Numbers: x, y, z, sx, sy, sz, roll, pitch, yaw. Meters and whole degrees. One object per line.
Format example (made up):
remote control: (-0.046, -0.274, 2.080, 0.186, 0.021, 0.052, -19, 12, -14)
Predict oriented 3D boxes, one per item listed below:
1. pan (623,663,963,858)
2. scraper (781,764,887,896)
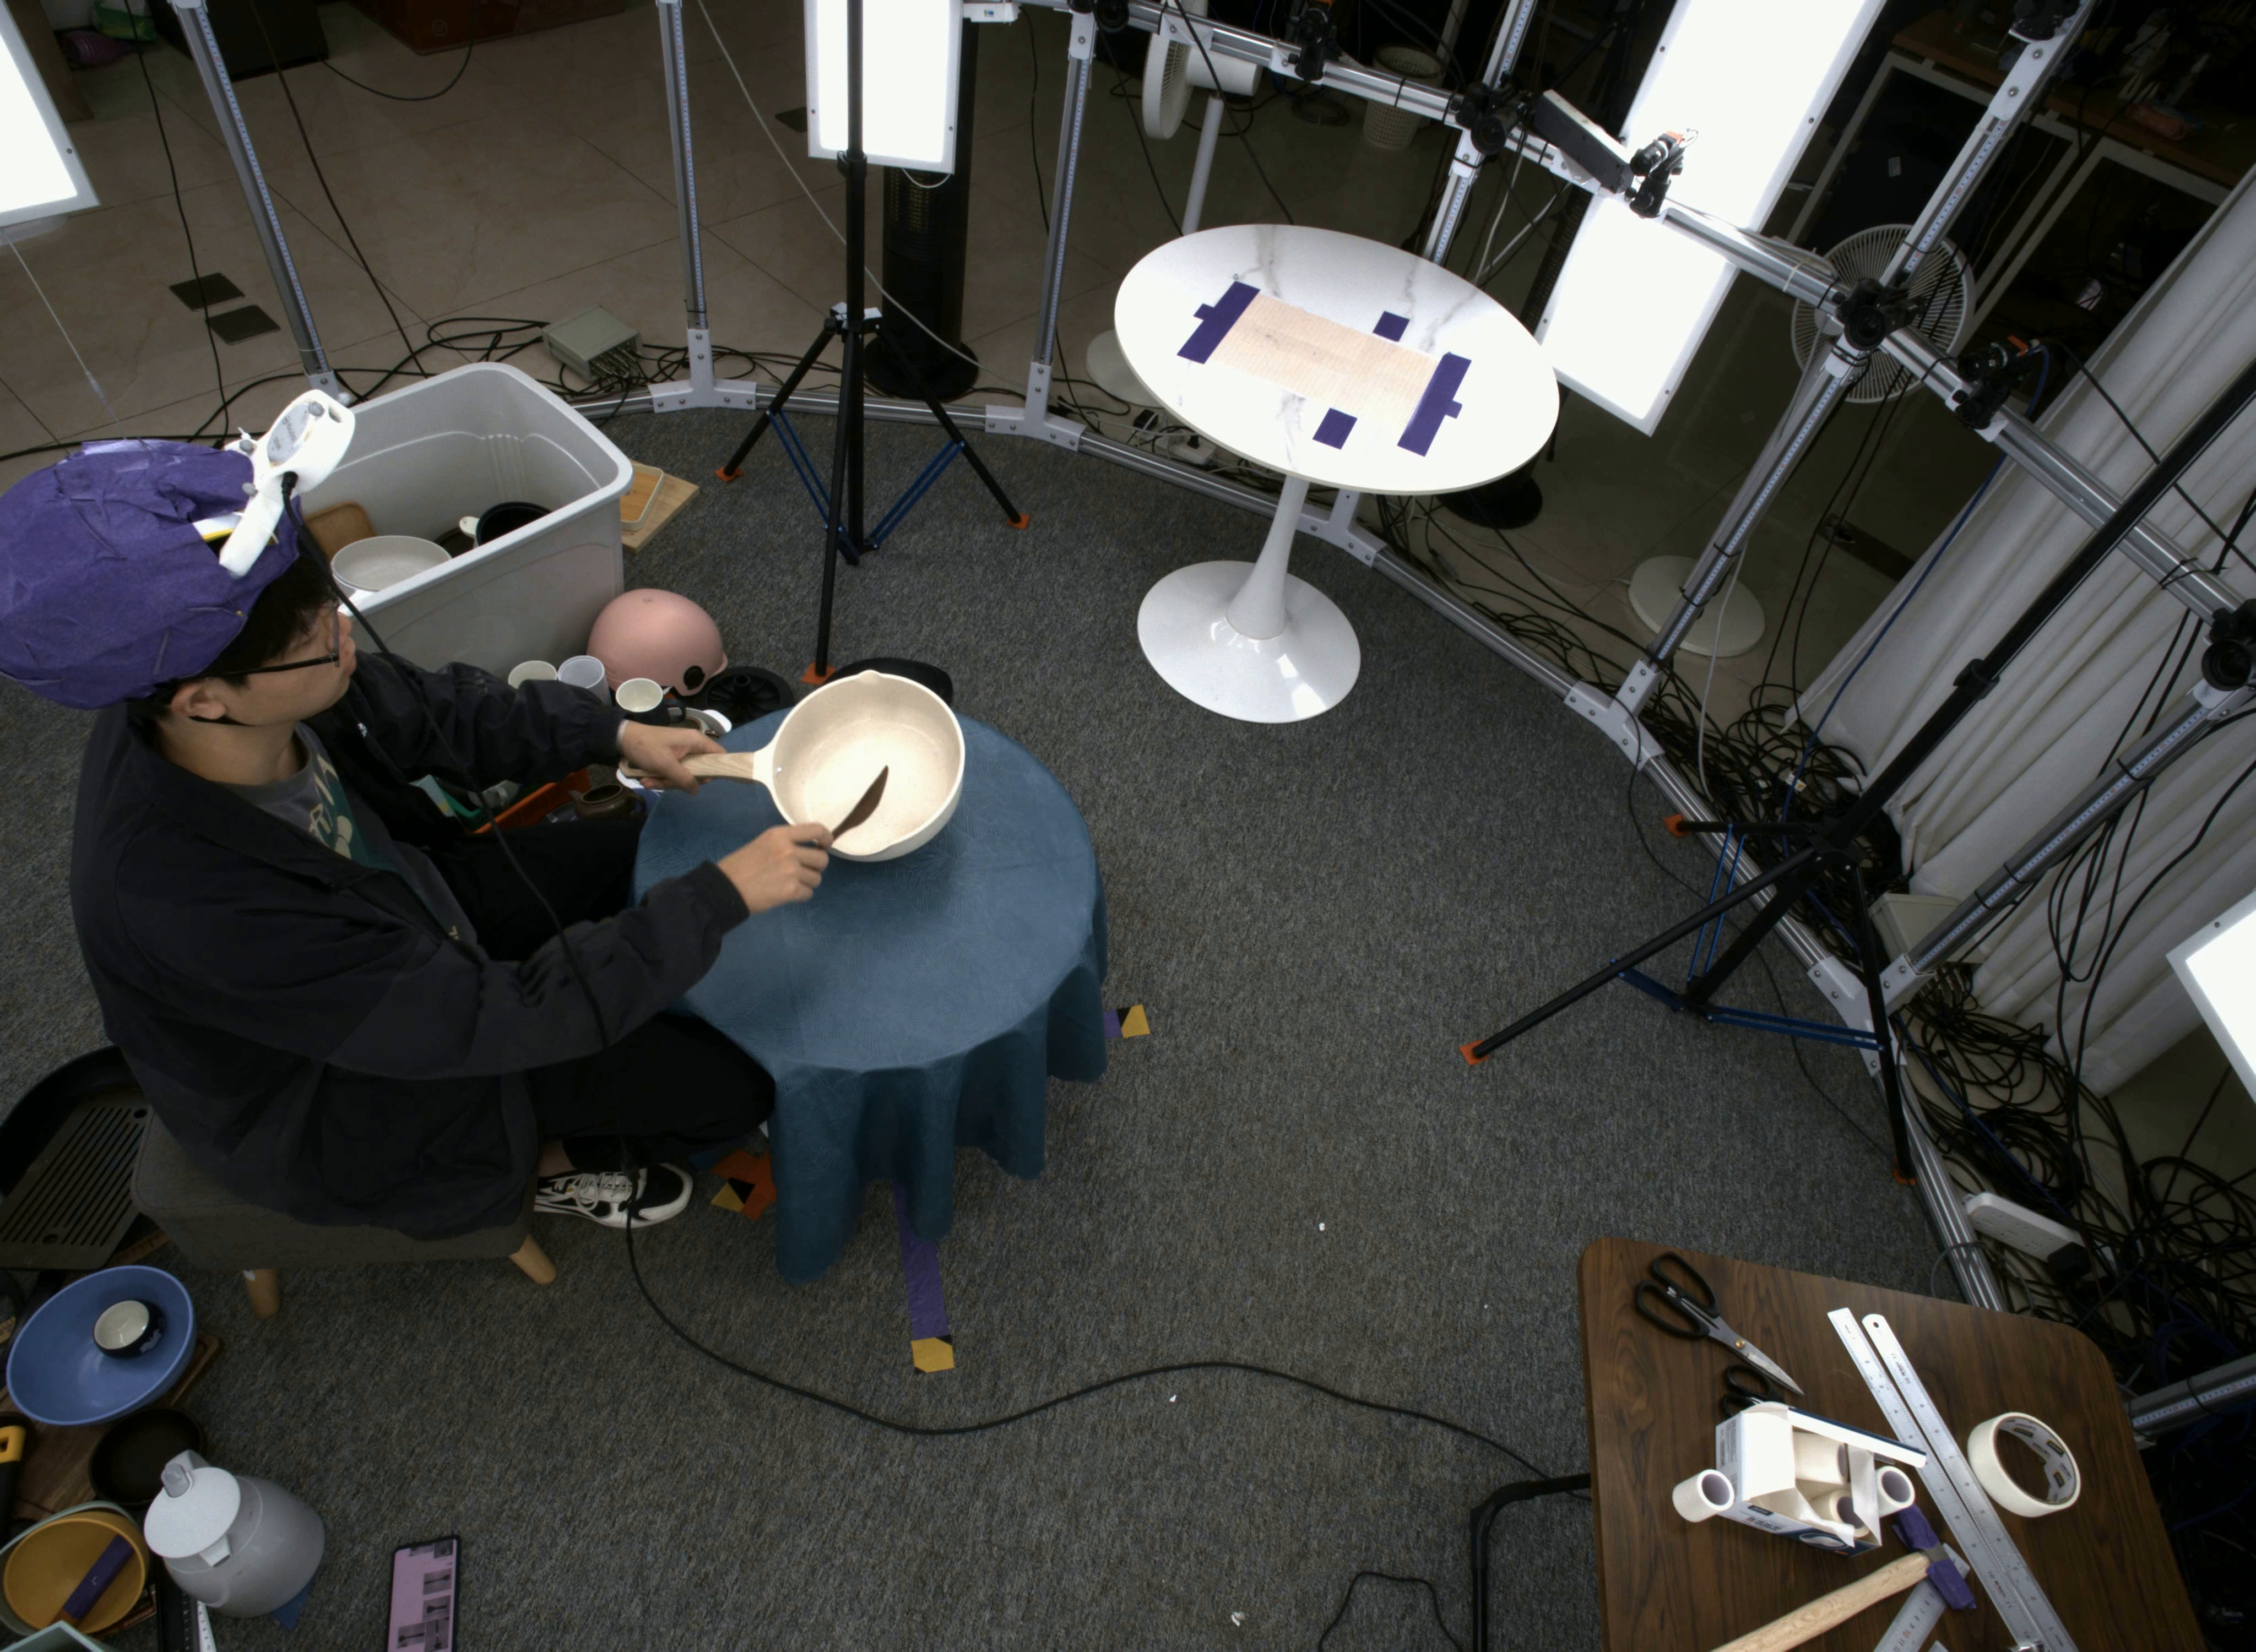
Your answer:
pan: (-0.423, -0.071, 1.670, 0.431, 0.104, 0.261, -4, 69, -2)
scraper: (-0.347, 0.008, 1.545, 0.011, 0.077, 0.210, 31, 50, 7)
